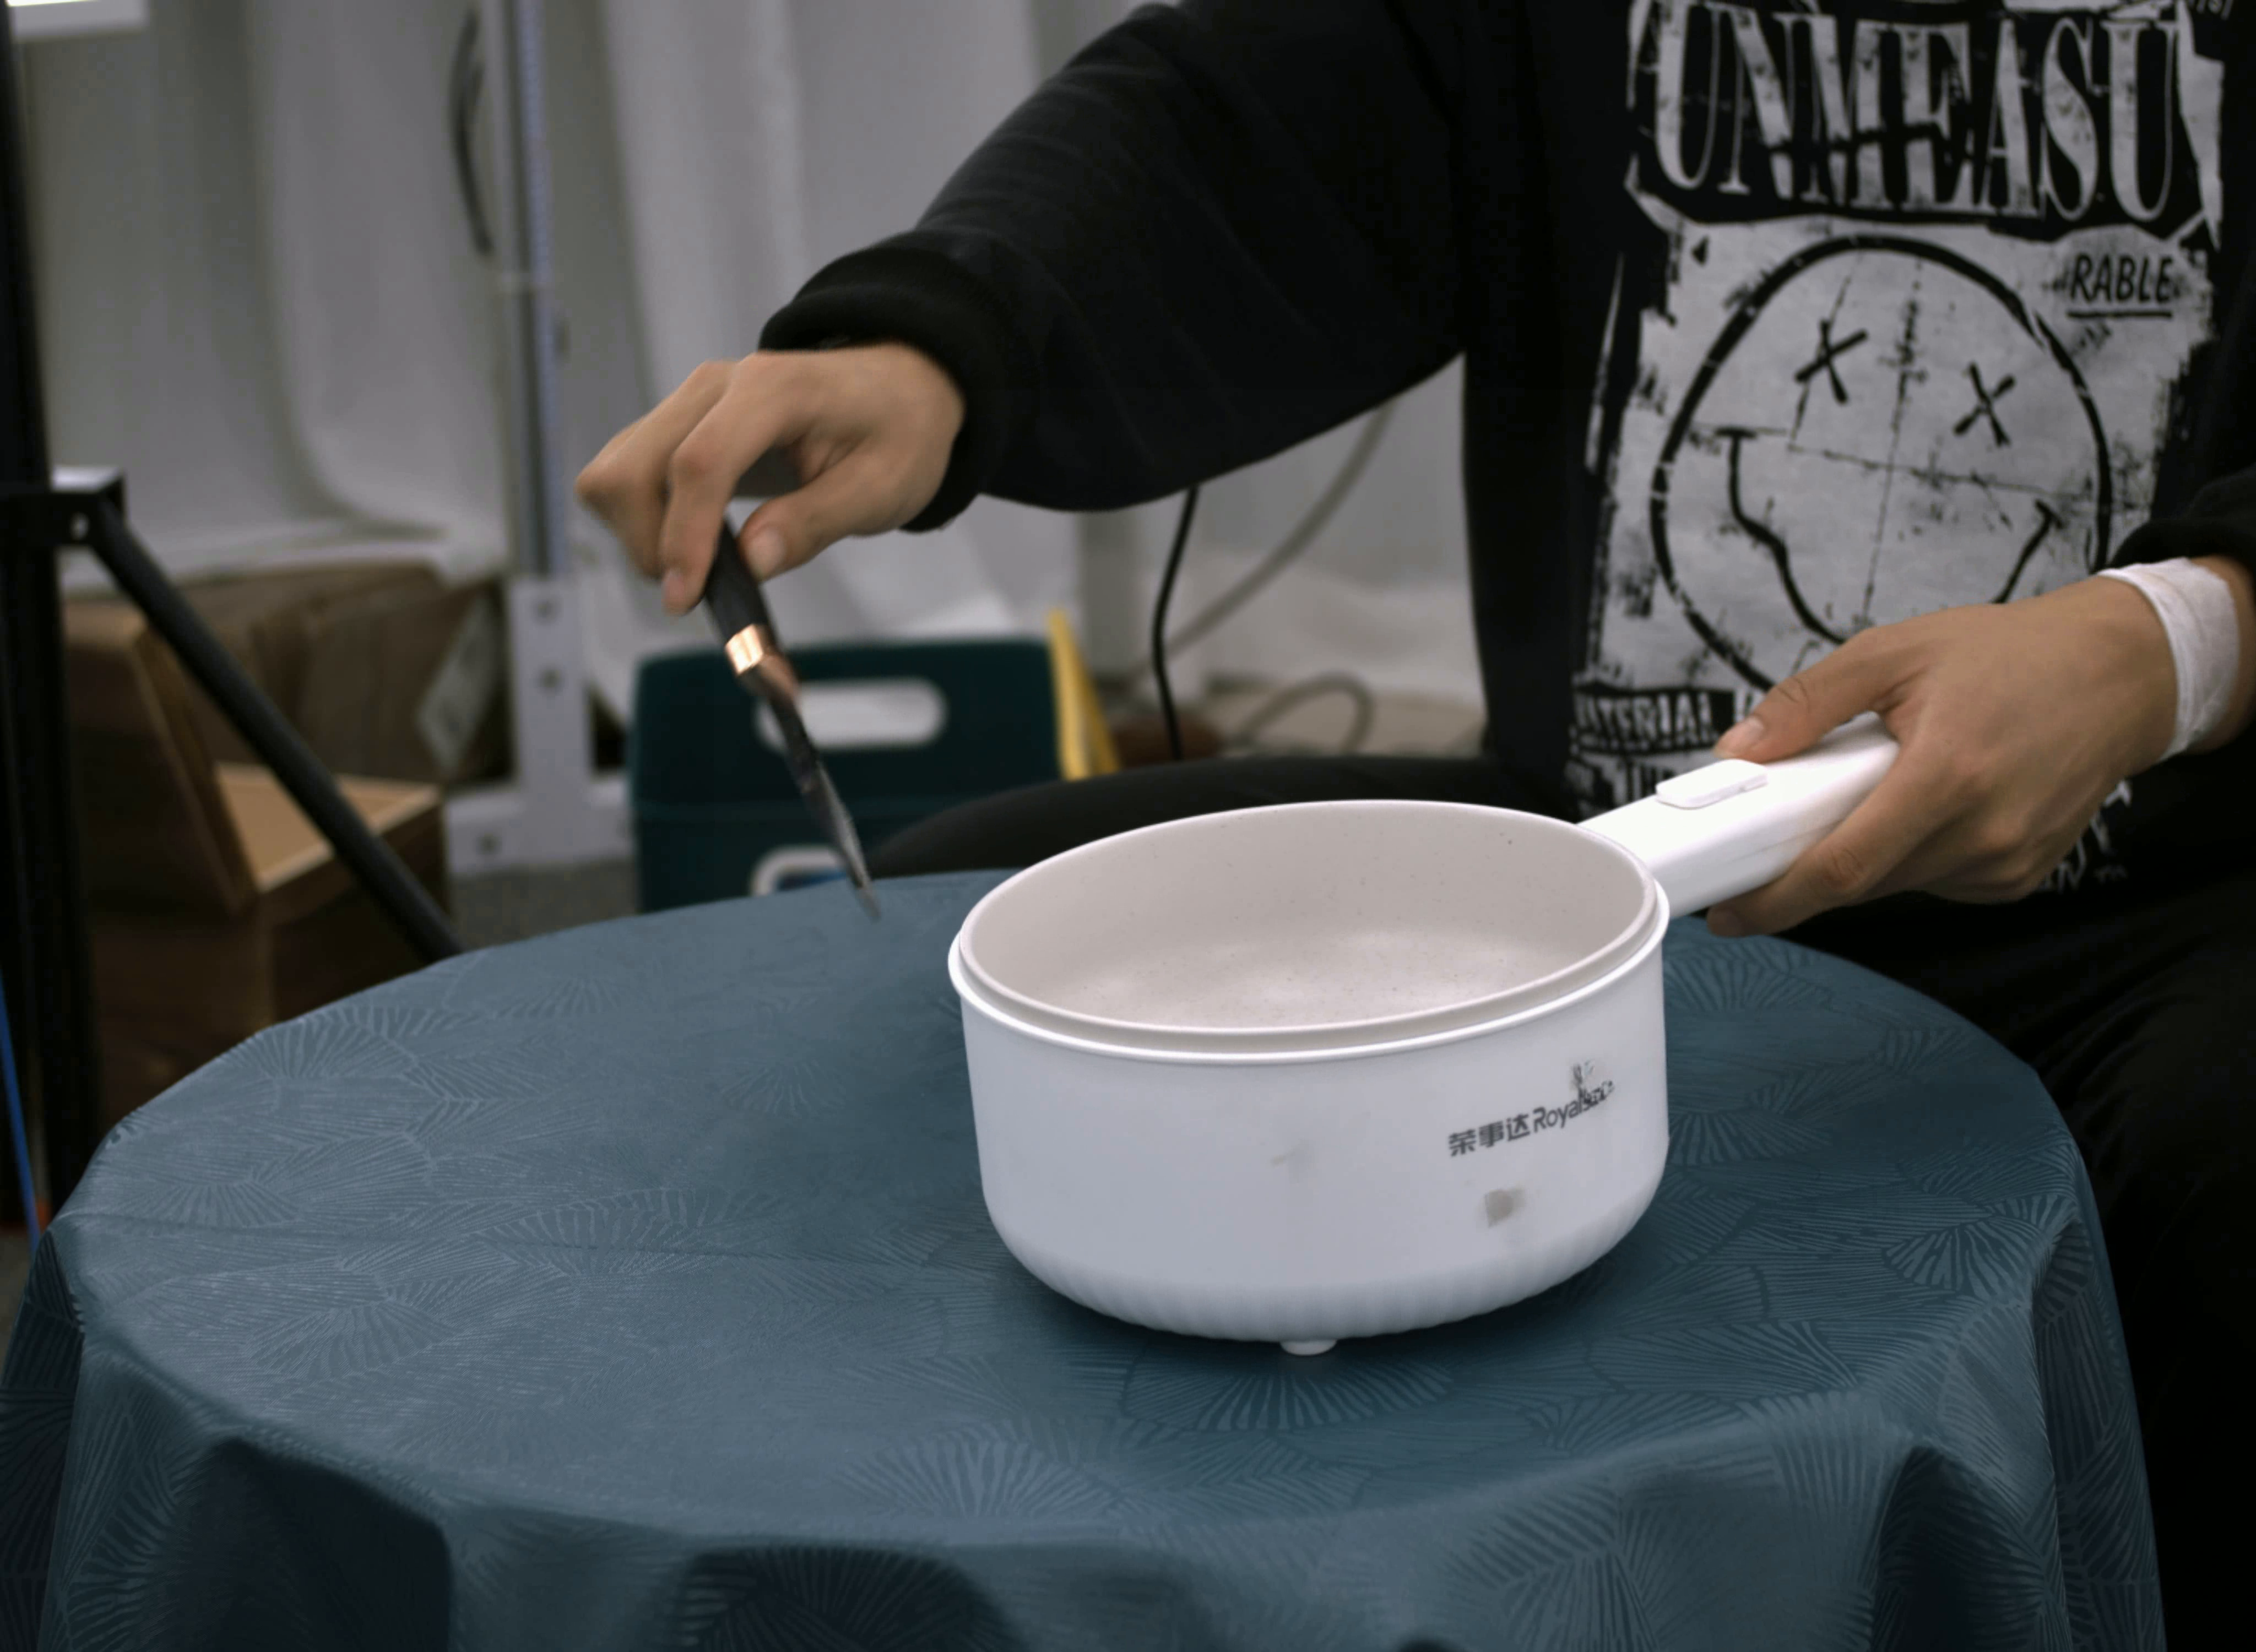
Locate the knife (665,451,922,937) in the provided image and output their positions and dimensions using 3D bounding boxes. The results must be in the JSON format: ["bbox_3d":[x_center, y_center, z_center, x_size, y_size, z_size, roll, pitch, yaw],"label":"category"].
[{"bbox_3d":[-0.100,-0.042,1.581,0.017,0.025,0.230,-32,43,4],"label":"knife"}]

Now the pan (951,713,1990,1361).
[{"bbox_3d":[0.113,0.055,1.525,0.347,0.102,0.206,-17,19,-35],"label":"pan"}]
